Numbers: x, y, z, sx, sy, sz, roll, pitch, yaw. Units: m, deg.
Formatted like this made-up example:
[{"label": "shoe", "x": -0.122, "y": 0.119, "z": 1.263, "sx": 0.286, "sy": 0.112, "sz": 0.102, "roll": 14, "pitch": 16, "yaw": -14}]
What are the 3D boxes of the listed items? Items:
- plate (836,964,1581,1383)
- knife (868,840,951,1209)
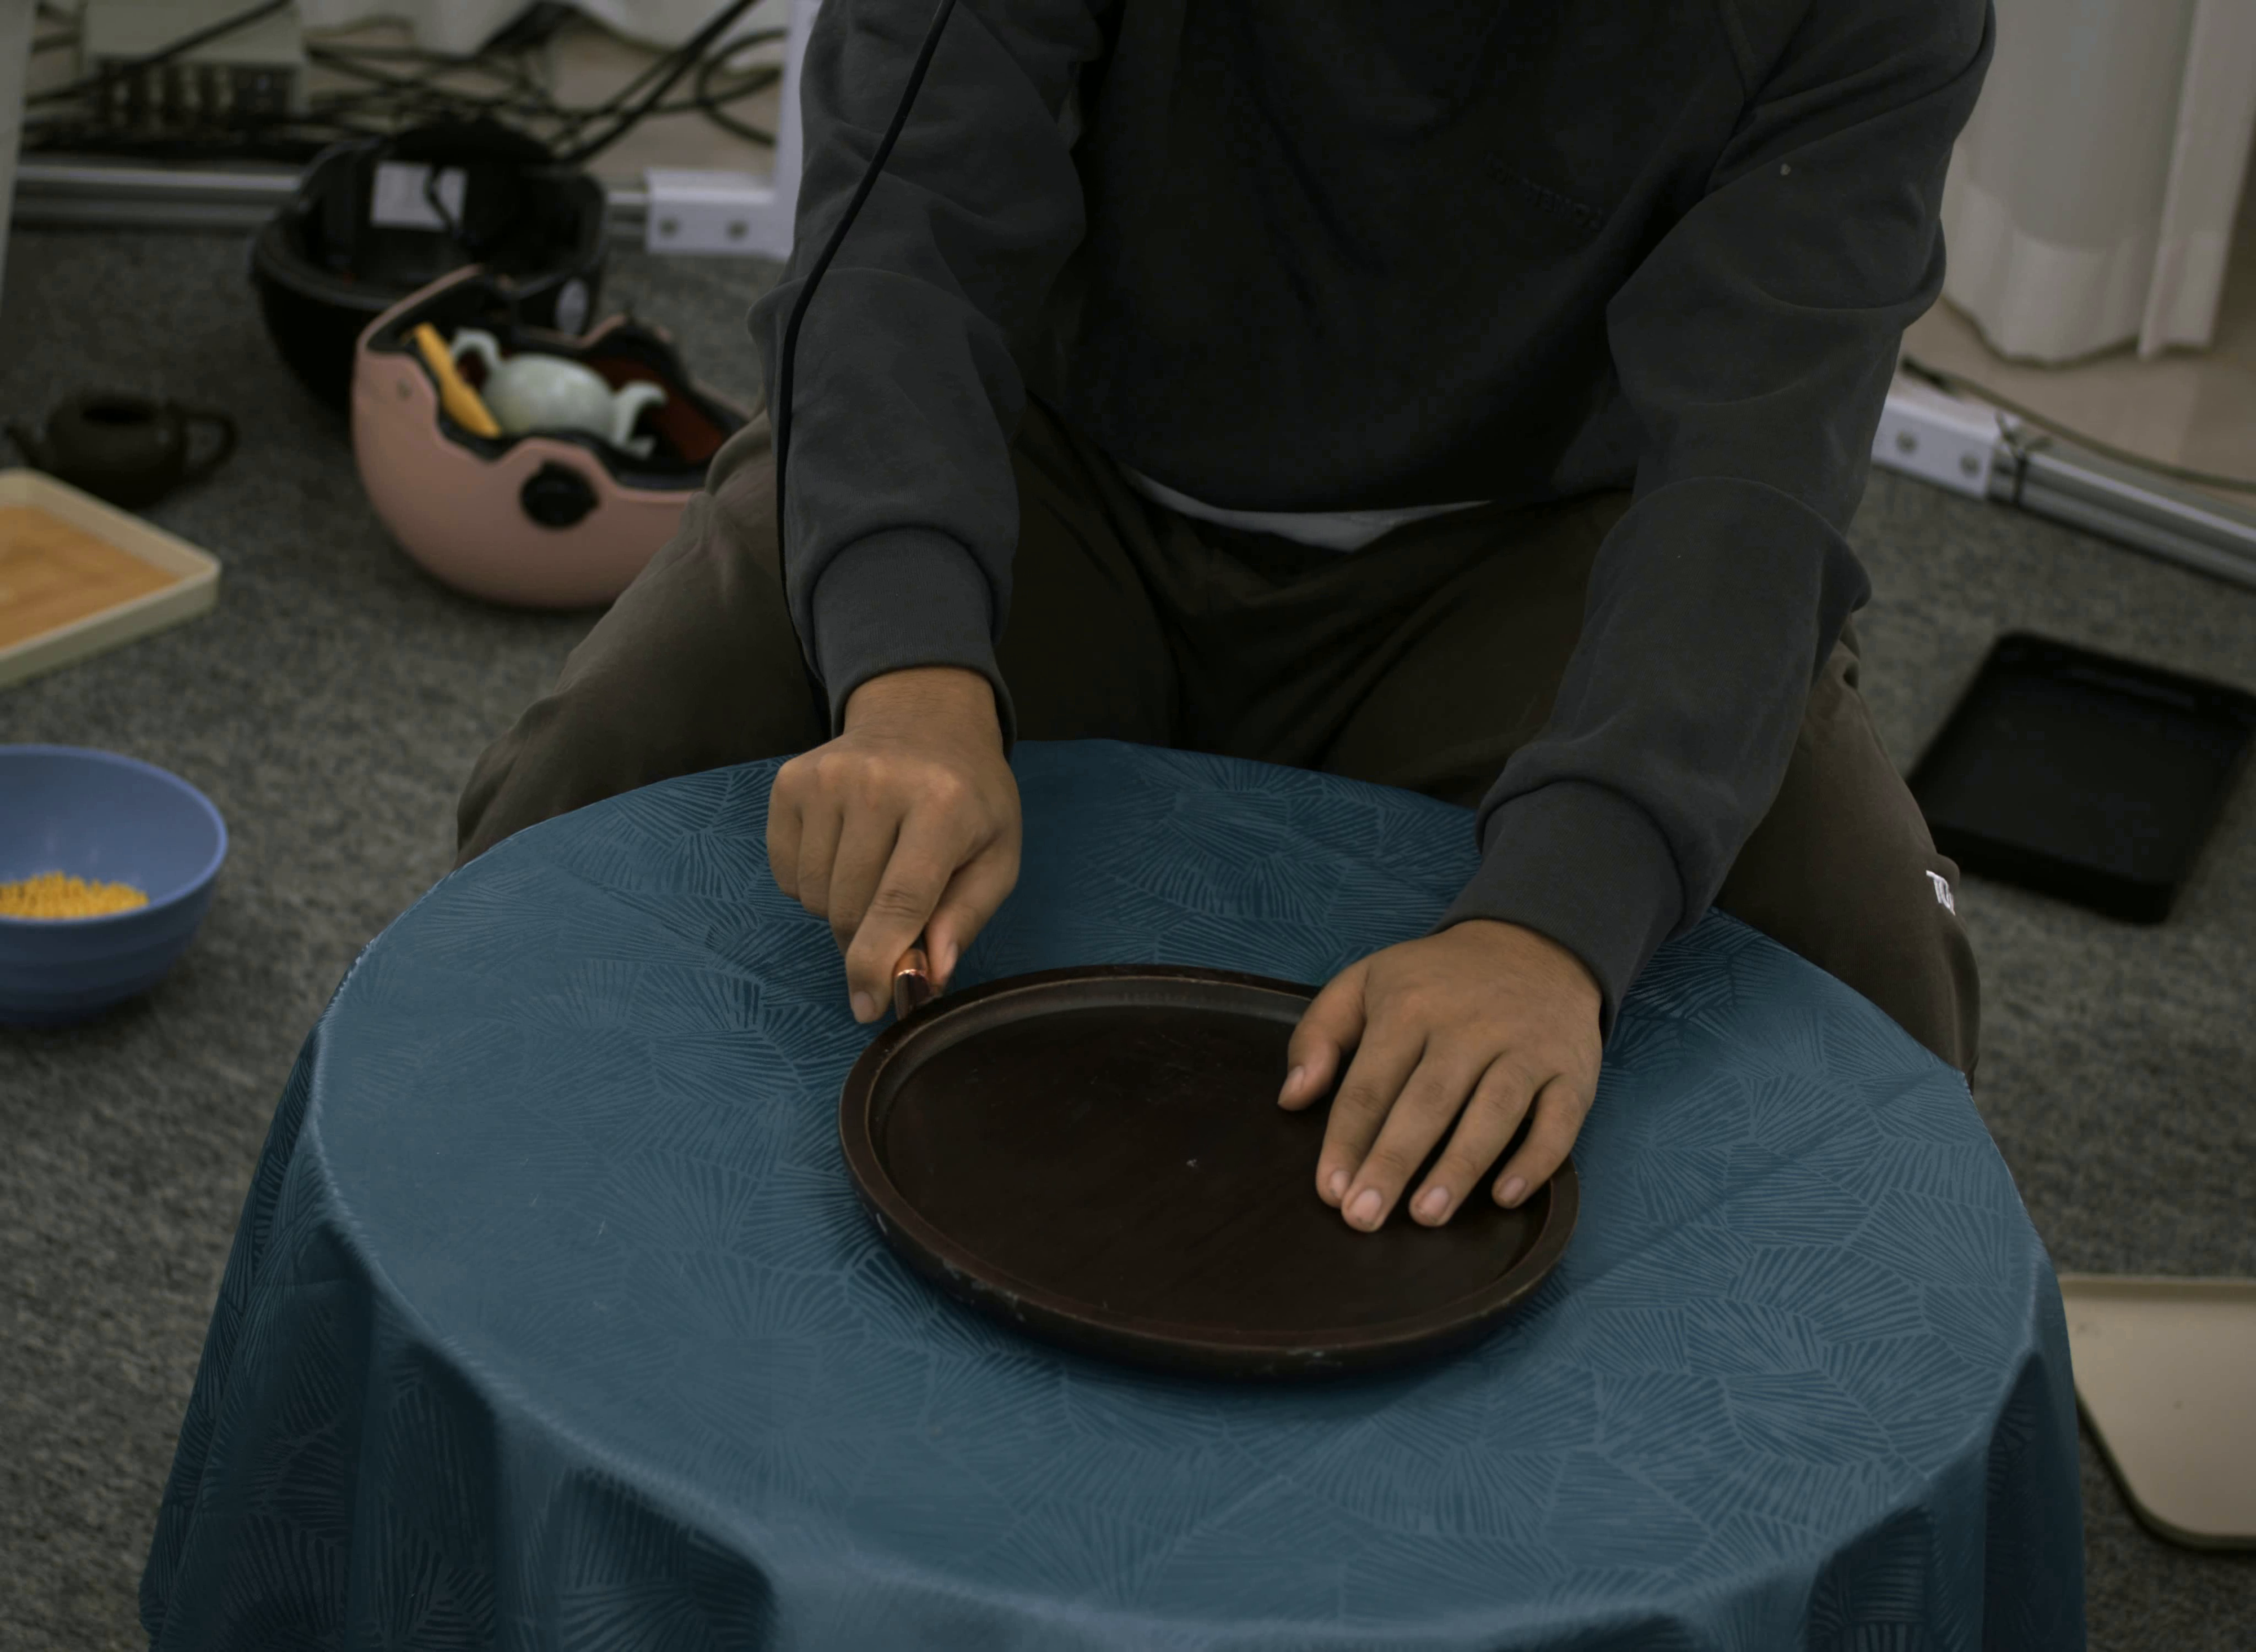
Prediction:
[{"label": "plate", "x": 0.027, "y": 0.116, "z": 1.803, "sx": 0.254, "sy": 0.029, "sz": 0.256, "roll": 4, "pitch": 26, "yaw": -2}, {"label": "knife", "x": -0.074, "y": 0.065, "z": 1.835, "sx": 0.017, "sy": 0.026, "sz": 0.227, "roll": -5, "pitch": 29, "yaw": -5}]
